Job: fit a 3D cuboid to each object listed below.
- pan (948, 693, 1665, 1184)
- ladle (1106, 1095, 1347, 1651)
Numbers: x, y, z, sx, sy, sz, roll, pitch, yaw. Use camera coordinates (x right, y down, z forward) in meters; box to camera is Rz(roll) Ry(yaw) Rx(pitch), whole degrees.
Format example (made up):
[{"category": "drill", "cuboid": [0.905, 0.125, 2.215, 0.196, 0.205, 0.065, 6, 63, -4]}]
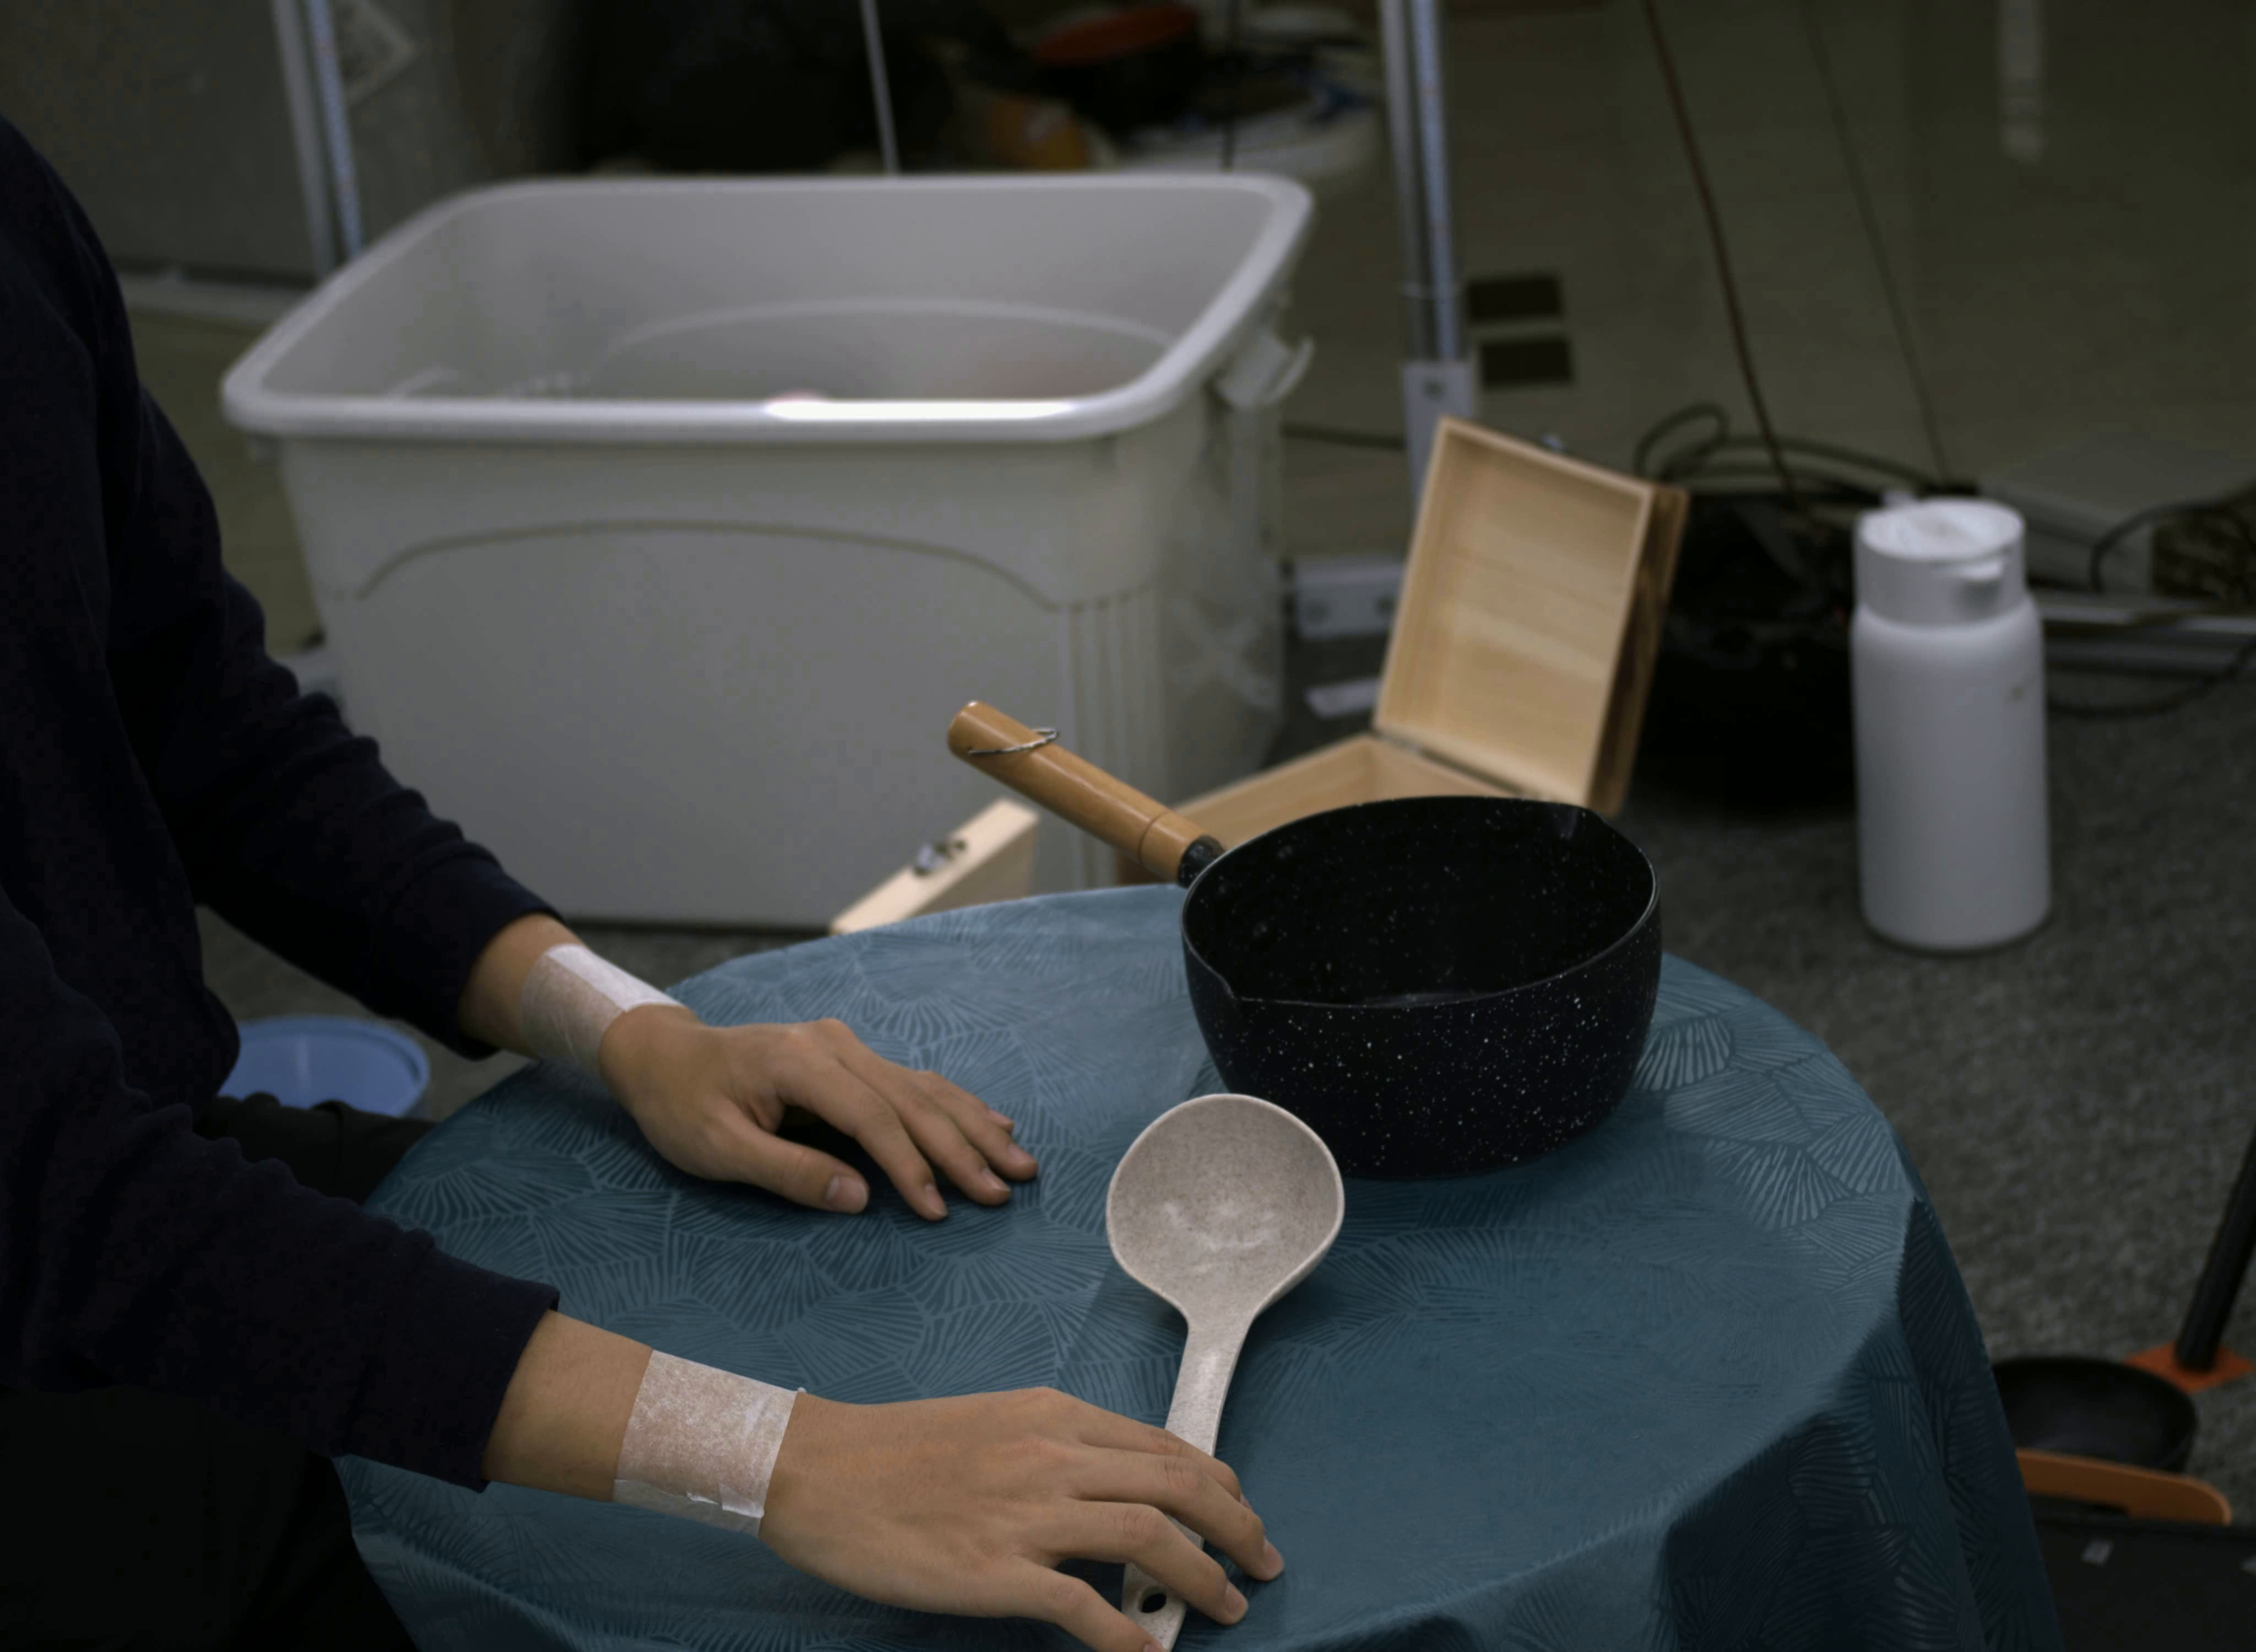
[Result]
[{"category": "pan", "cuboid": [0.056, 0.036, 2.223, 0.340, 0.110, 0.205, 18, 36, 40]}, {"category": "ladle", "cuboid": [0.020, 0.185, 1.961, 0.089, 0.070, 0.271, -4, 25, 11]}]
